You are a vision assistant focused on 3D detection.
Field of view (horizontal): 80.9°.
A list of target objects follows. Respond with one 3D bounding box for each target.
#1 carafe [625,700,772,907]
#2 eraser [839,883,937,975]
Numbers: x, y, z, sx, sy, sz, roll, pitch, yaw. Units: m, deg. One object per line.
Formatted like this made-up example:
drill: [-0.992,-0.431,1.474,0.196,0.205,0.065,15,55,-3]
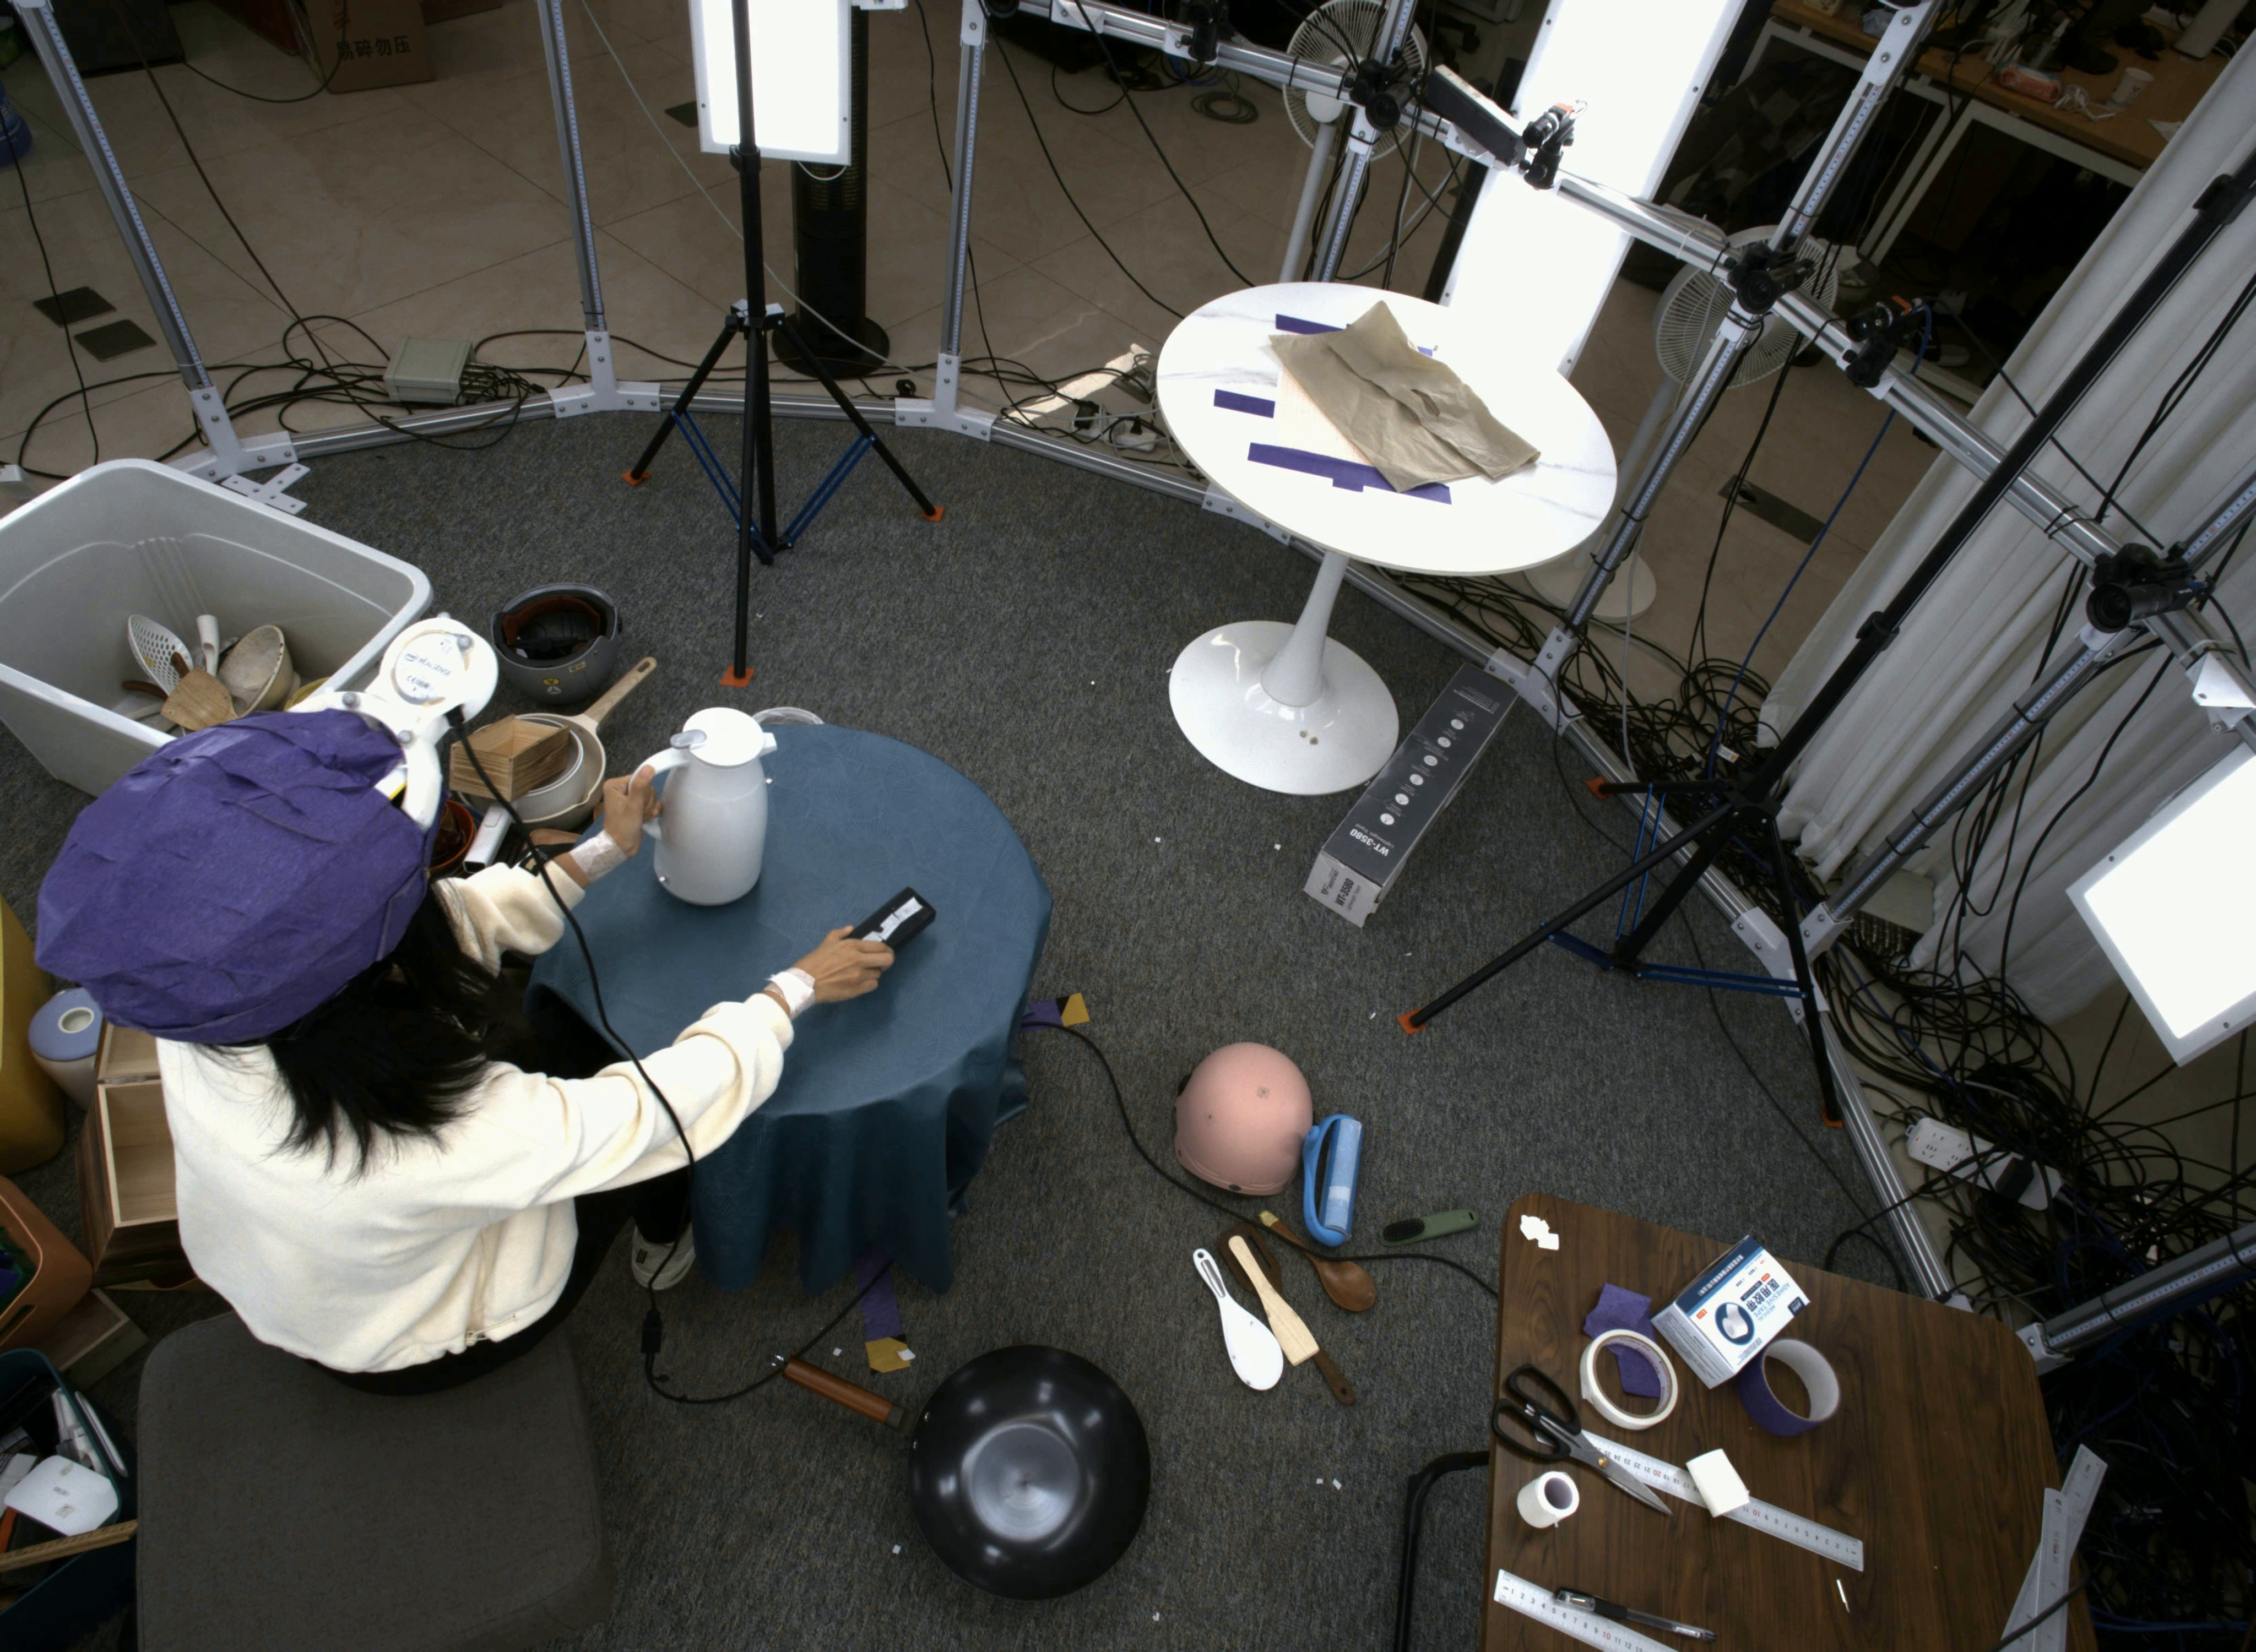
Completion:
carafe: [-0.515,-0.029,1.533,0.169,0.252,0.129,-11,55,-30]
eraser: [-0.295,0.123,1.597,0.053,0.031,0.125,39,50,7]
